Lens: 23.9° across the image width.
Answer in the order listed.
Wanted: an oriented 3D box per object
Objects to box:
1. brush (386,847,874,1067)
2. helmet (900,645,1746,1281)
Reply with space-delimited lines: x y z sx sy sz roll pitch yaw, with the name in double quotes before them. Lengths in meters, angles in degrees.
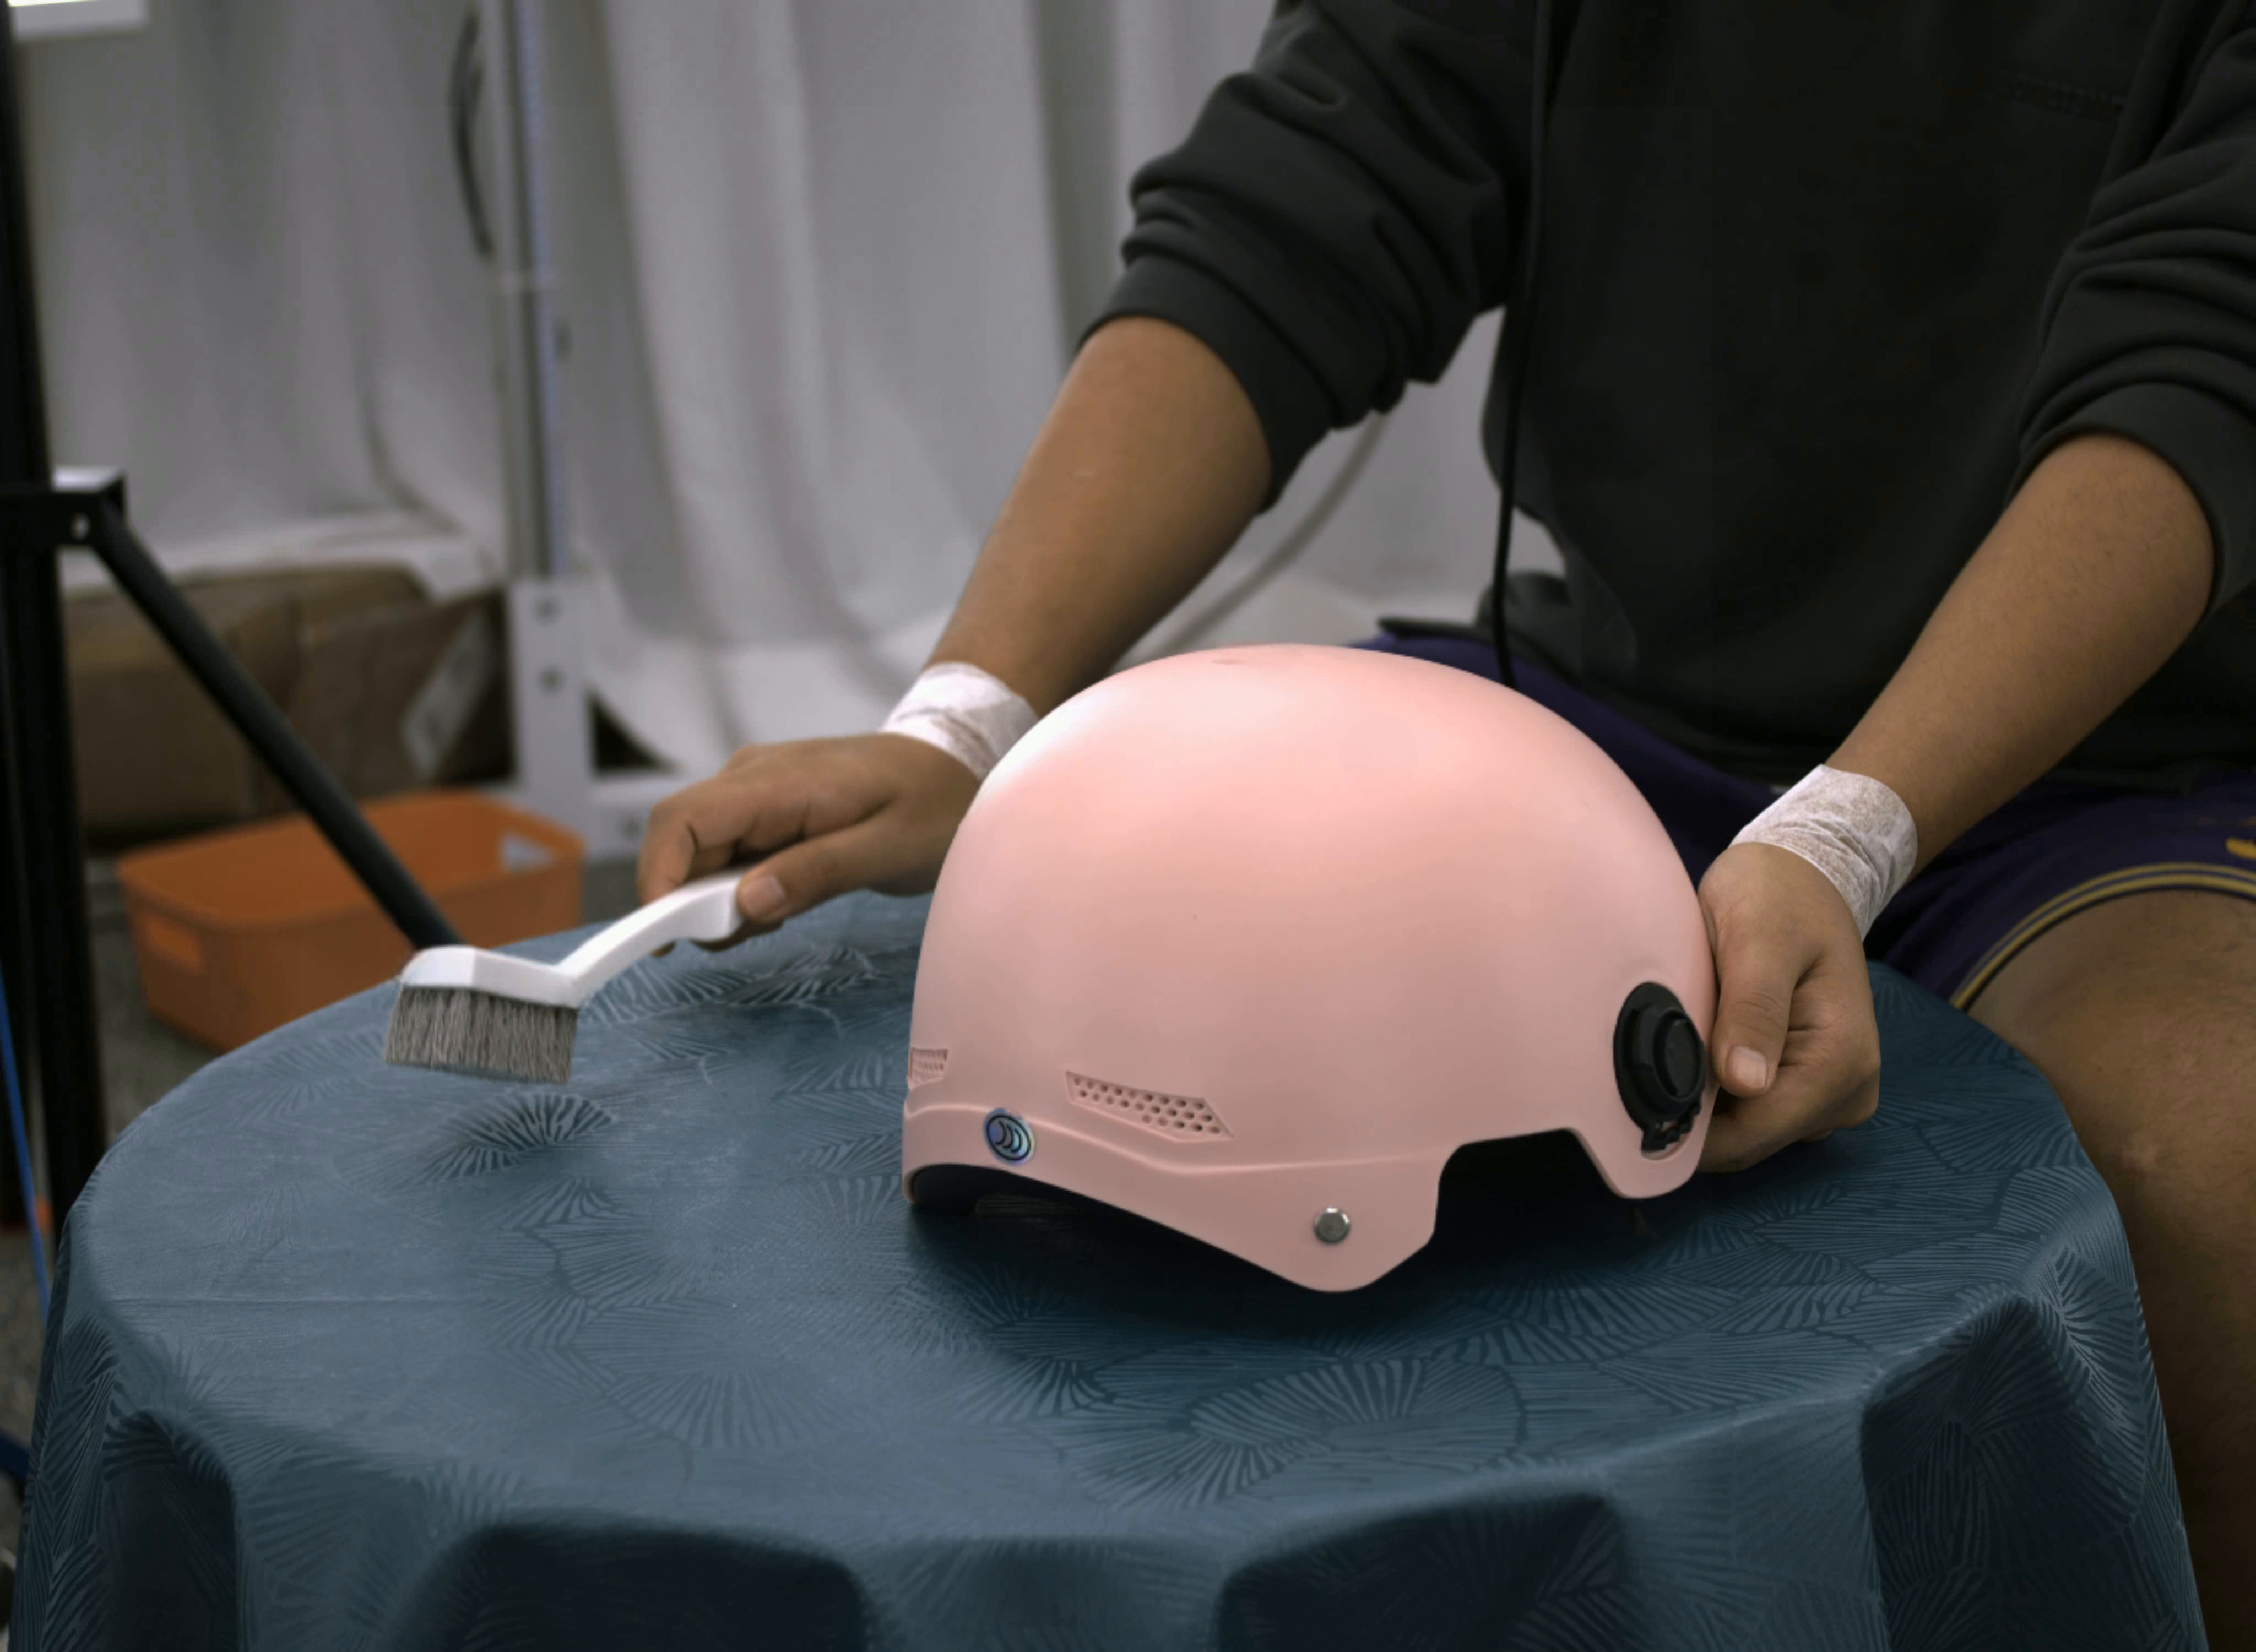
"brush" -0.152 0.043 1.703 0.035 0.050 0.238 -3 5 32
"helmet" 0.057 0.026 1.541 0.259 0.159 0.239 -11 12 -42
